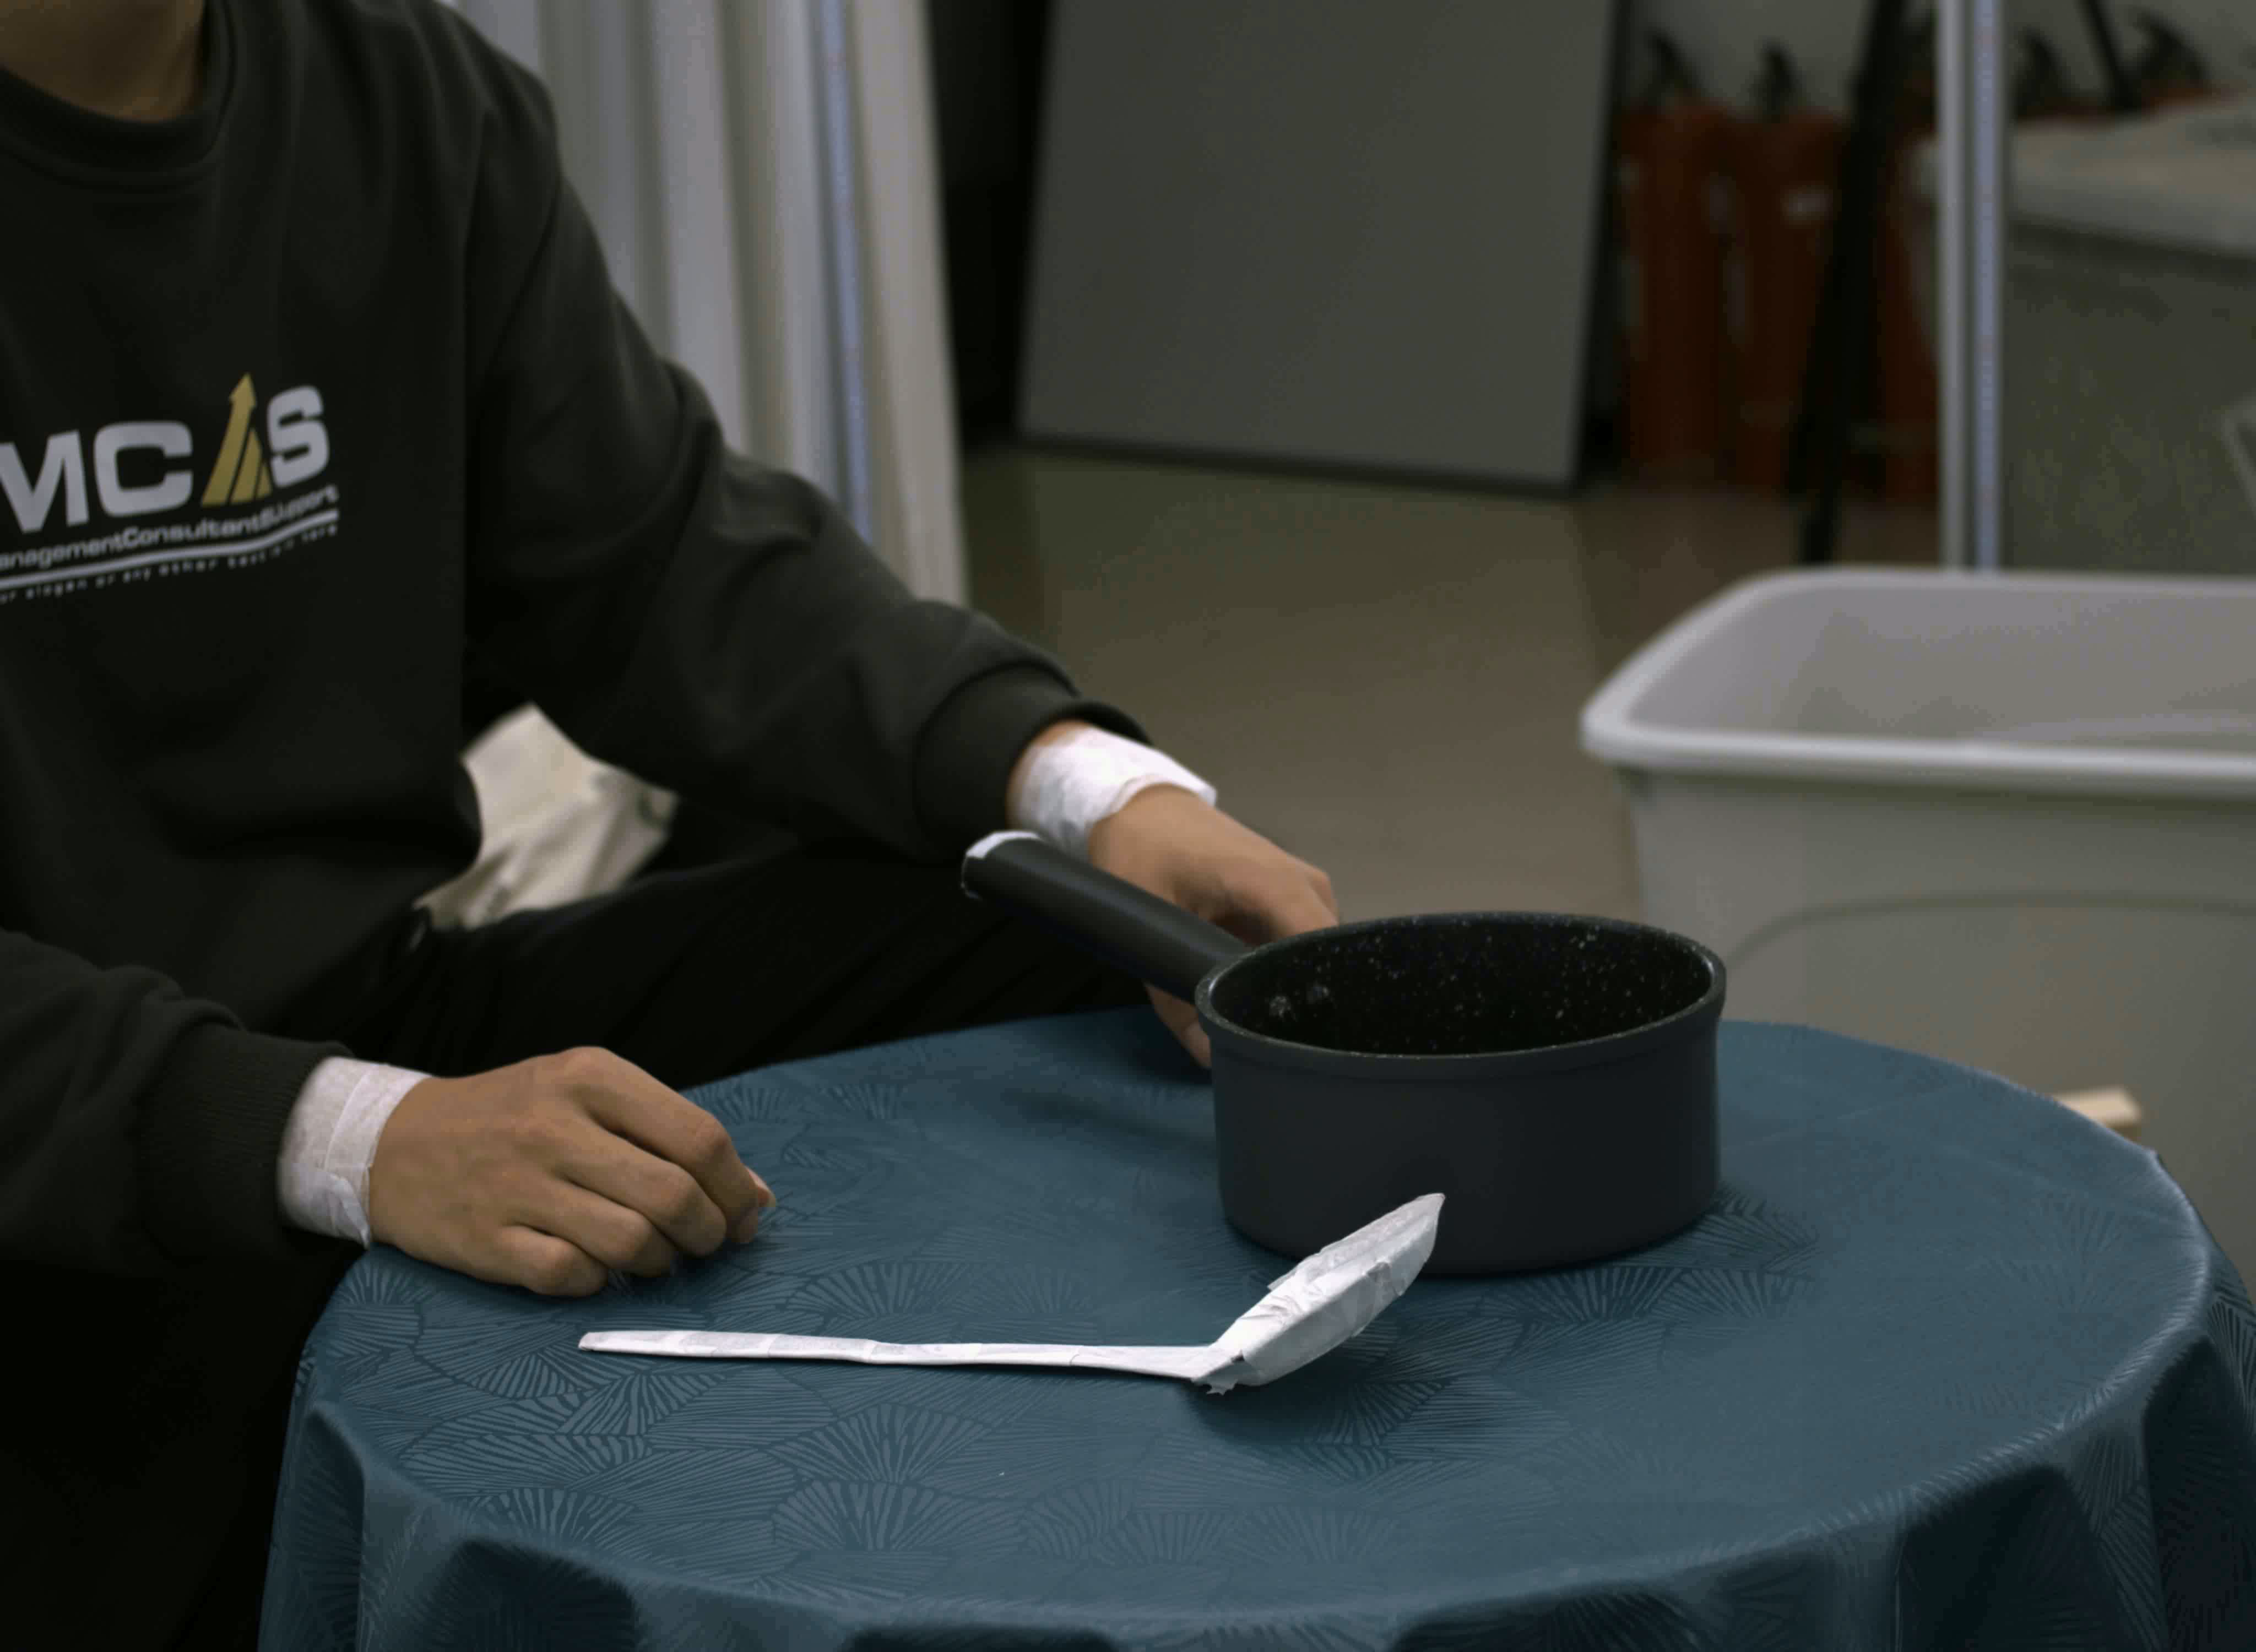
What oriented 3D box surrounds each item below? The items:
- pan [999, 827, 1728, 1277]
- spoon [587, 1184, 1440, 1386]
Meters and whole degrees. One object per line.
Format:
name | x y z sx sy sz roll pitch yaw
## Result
pan | 0.062 0.070 1.791 0.168 0.087 0.332 -12 16 -34
spoon | -0.037 0.132 1.618 0.277 0.060 0.099 1 12 22
